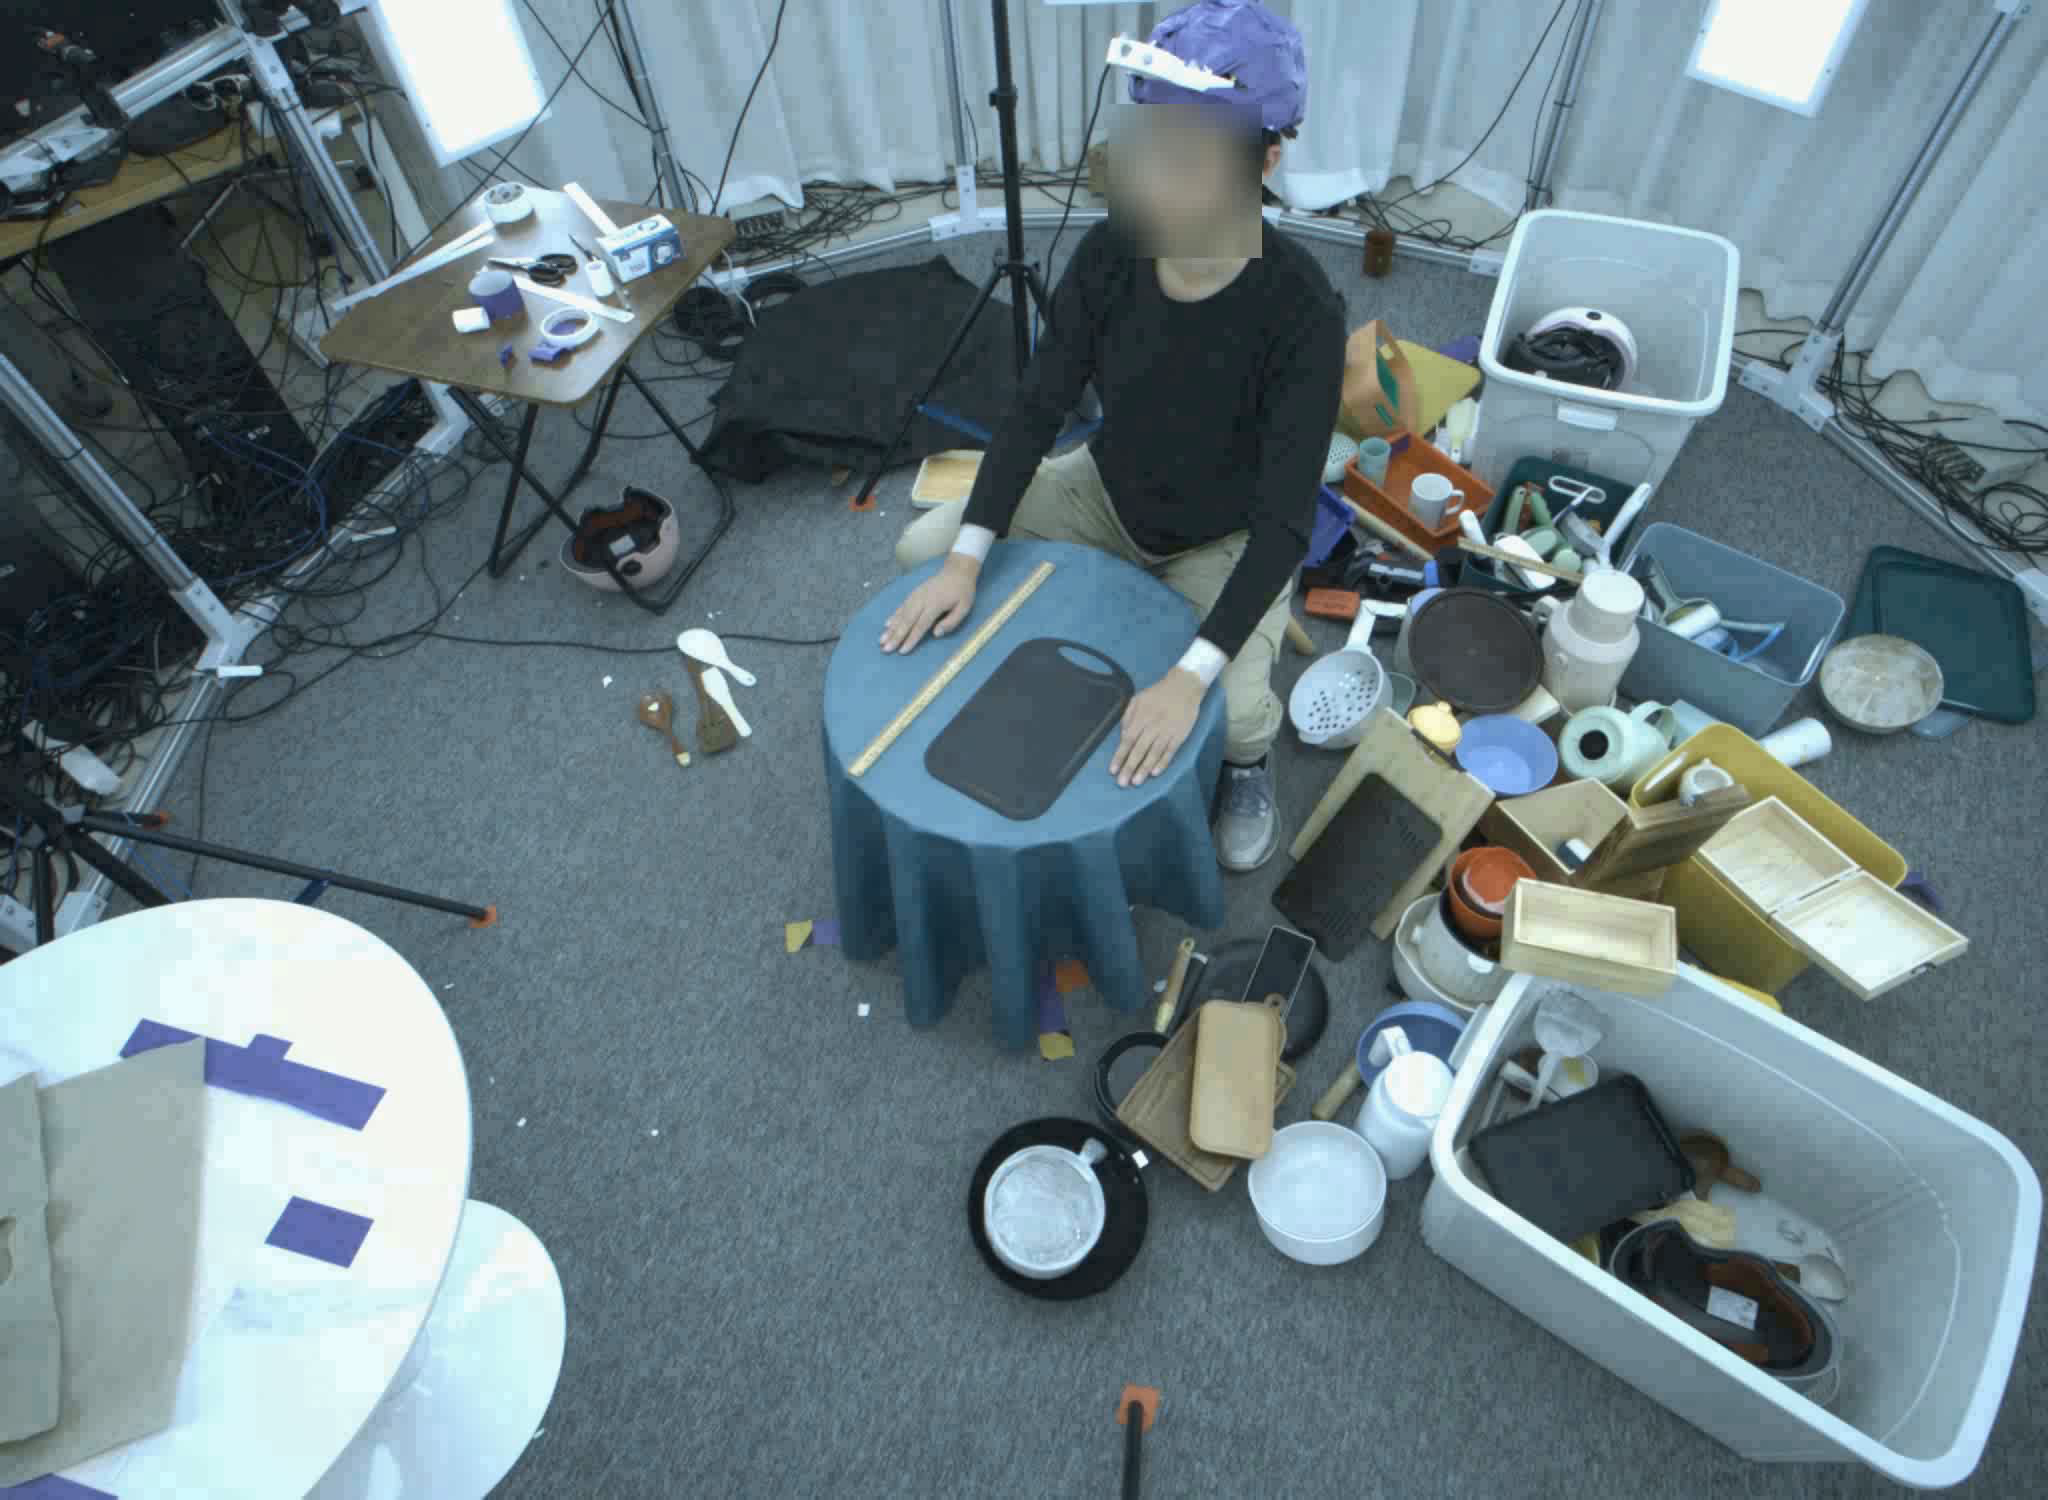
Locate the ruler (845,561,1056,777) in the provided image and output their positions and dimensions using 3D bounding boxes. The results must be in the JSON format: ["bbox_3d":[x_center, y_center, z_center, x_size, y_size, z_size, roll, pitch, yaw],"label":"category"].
[{"bbox_3d":[-0.104,-0.134,1.883,0.026,0.006,0.503,31,61,18],"label":"ruler"}]

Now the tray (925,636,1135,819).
[{"bbox_3d":[0.015,-0.046,1.816,0.208,0.010,0.327,29,61,20],"label":"tray"}]
